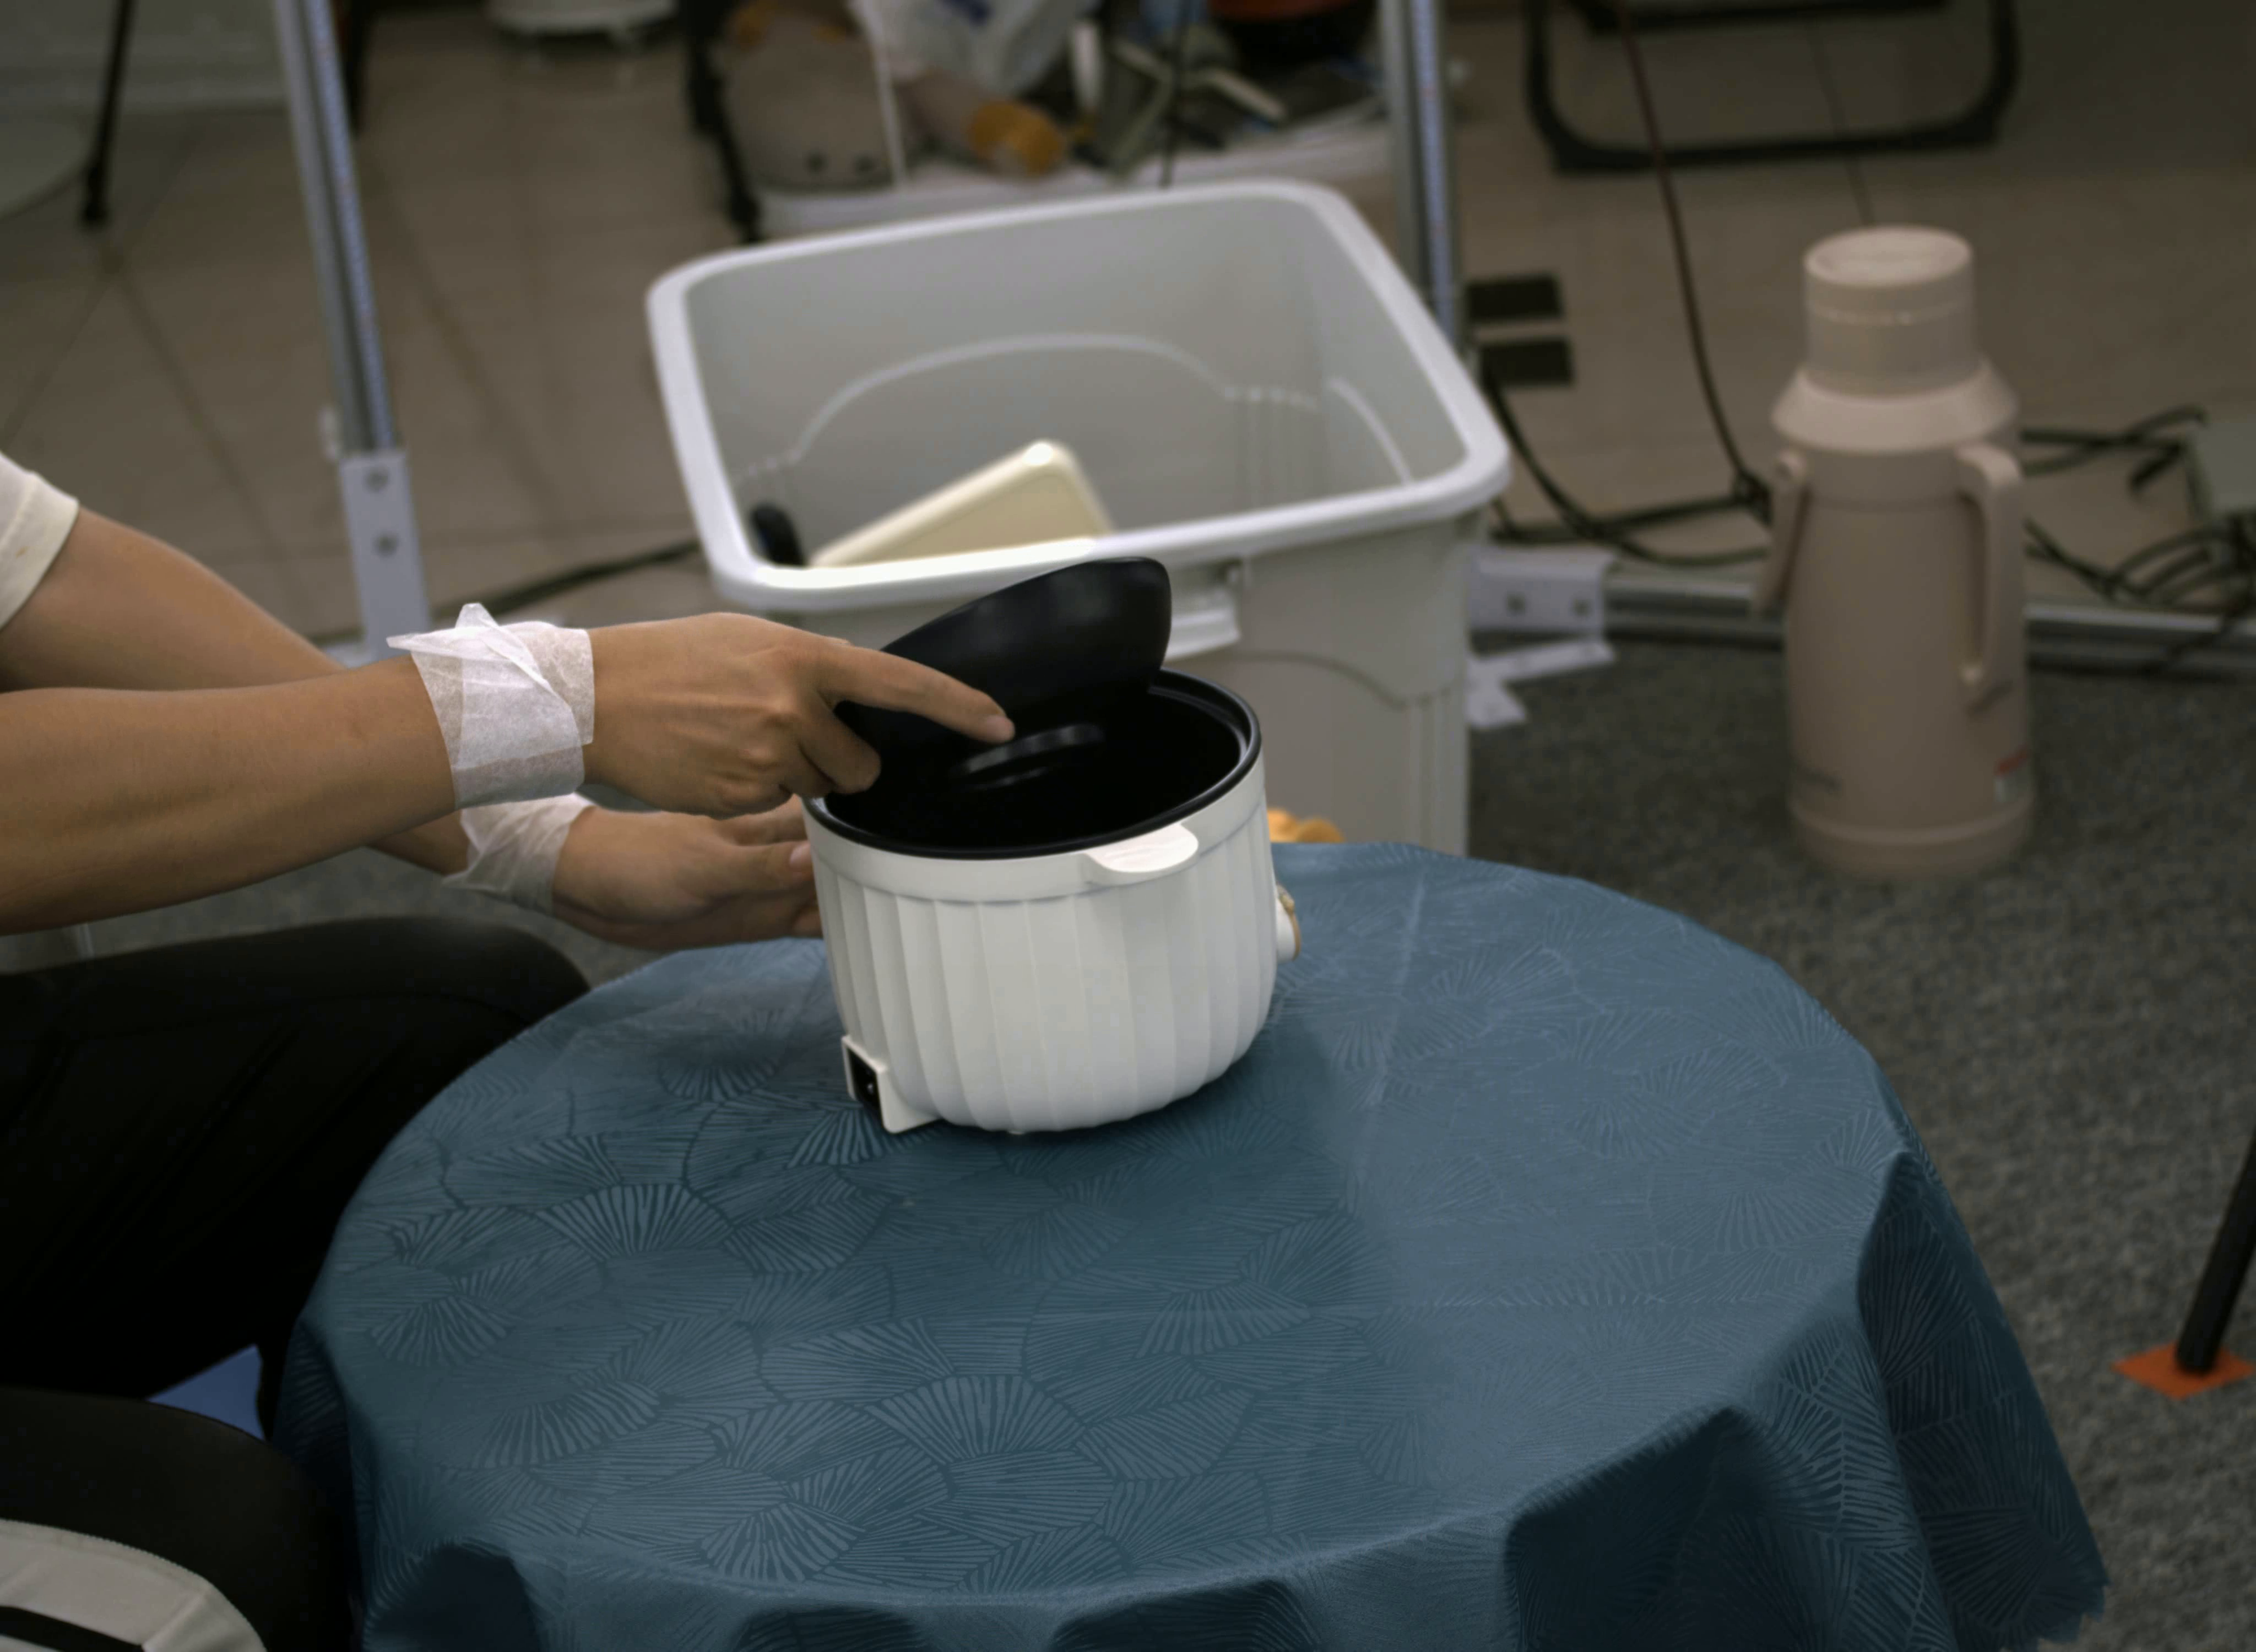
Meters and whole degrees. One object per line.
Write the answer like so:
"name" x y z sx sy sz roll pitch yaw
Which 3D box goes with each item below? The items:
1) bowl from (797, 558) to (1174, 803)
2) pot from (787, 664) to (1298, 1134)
"bowl" -0.047 -0.050 2.177 0.138 0.066 0.170 -25 -10 37
"pot" -0.028 0.029 2.227 0.189 0.145 0.237 -21 29 -20
